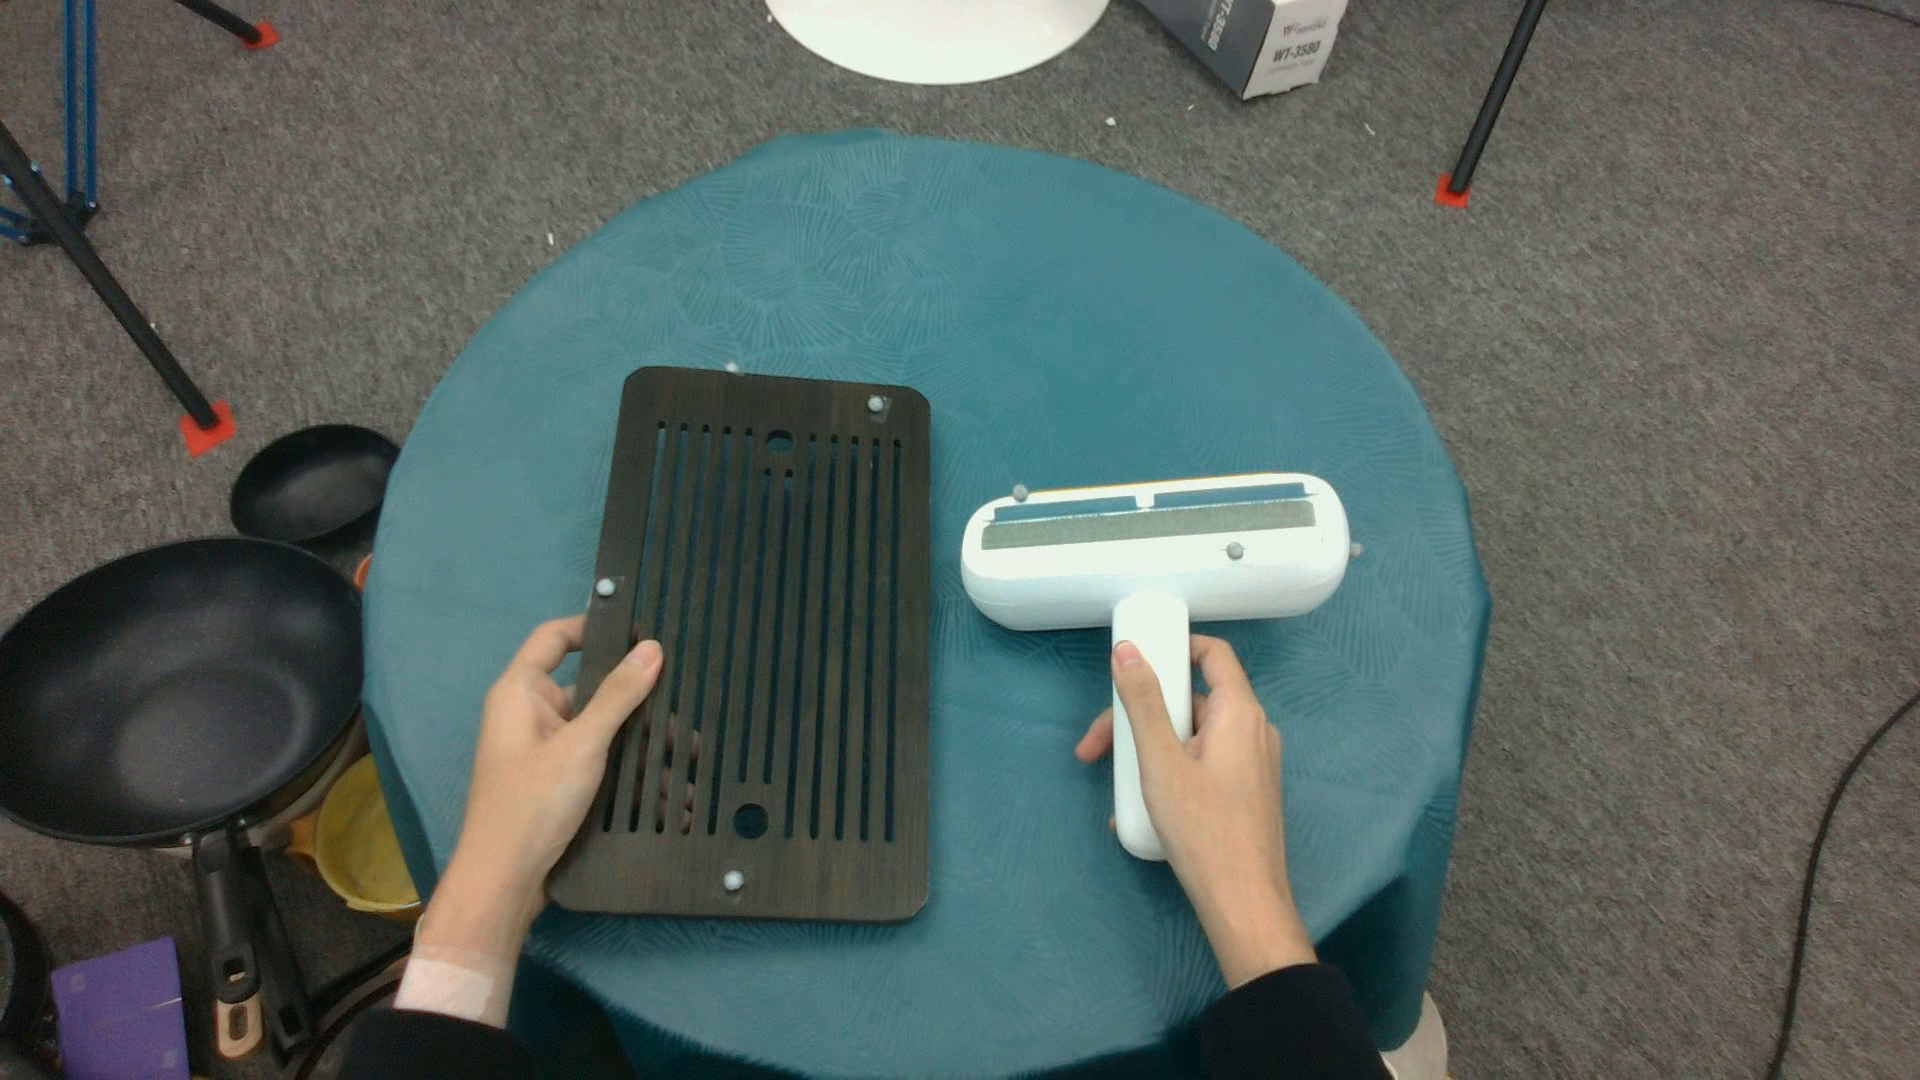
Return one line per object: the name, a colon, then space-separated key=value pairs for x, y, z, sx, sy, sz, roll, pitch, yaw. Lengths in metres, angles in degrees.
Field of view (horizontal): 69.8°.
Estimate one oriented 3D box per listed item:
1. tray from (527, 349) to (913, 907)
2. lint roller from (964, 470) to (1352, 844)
tray: x=-0.109 y=0.032 z=0.695 sx=0.170 sy=0.018 sz=0.307 roll=5 pitch=57 yaw=-9
lint roller: x=0.090 y=0.049 z=0.666 sx=0.192 sy=0.074 sz=0.193 roll=3 pitch=53 yaw=11
